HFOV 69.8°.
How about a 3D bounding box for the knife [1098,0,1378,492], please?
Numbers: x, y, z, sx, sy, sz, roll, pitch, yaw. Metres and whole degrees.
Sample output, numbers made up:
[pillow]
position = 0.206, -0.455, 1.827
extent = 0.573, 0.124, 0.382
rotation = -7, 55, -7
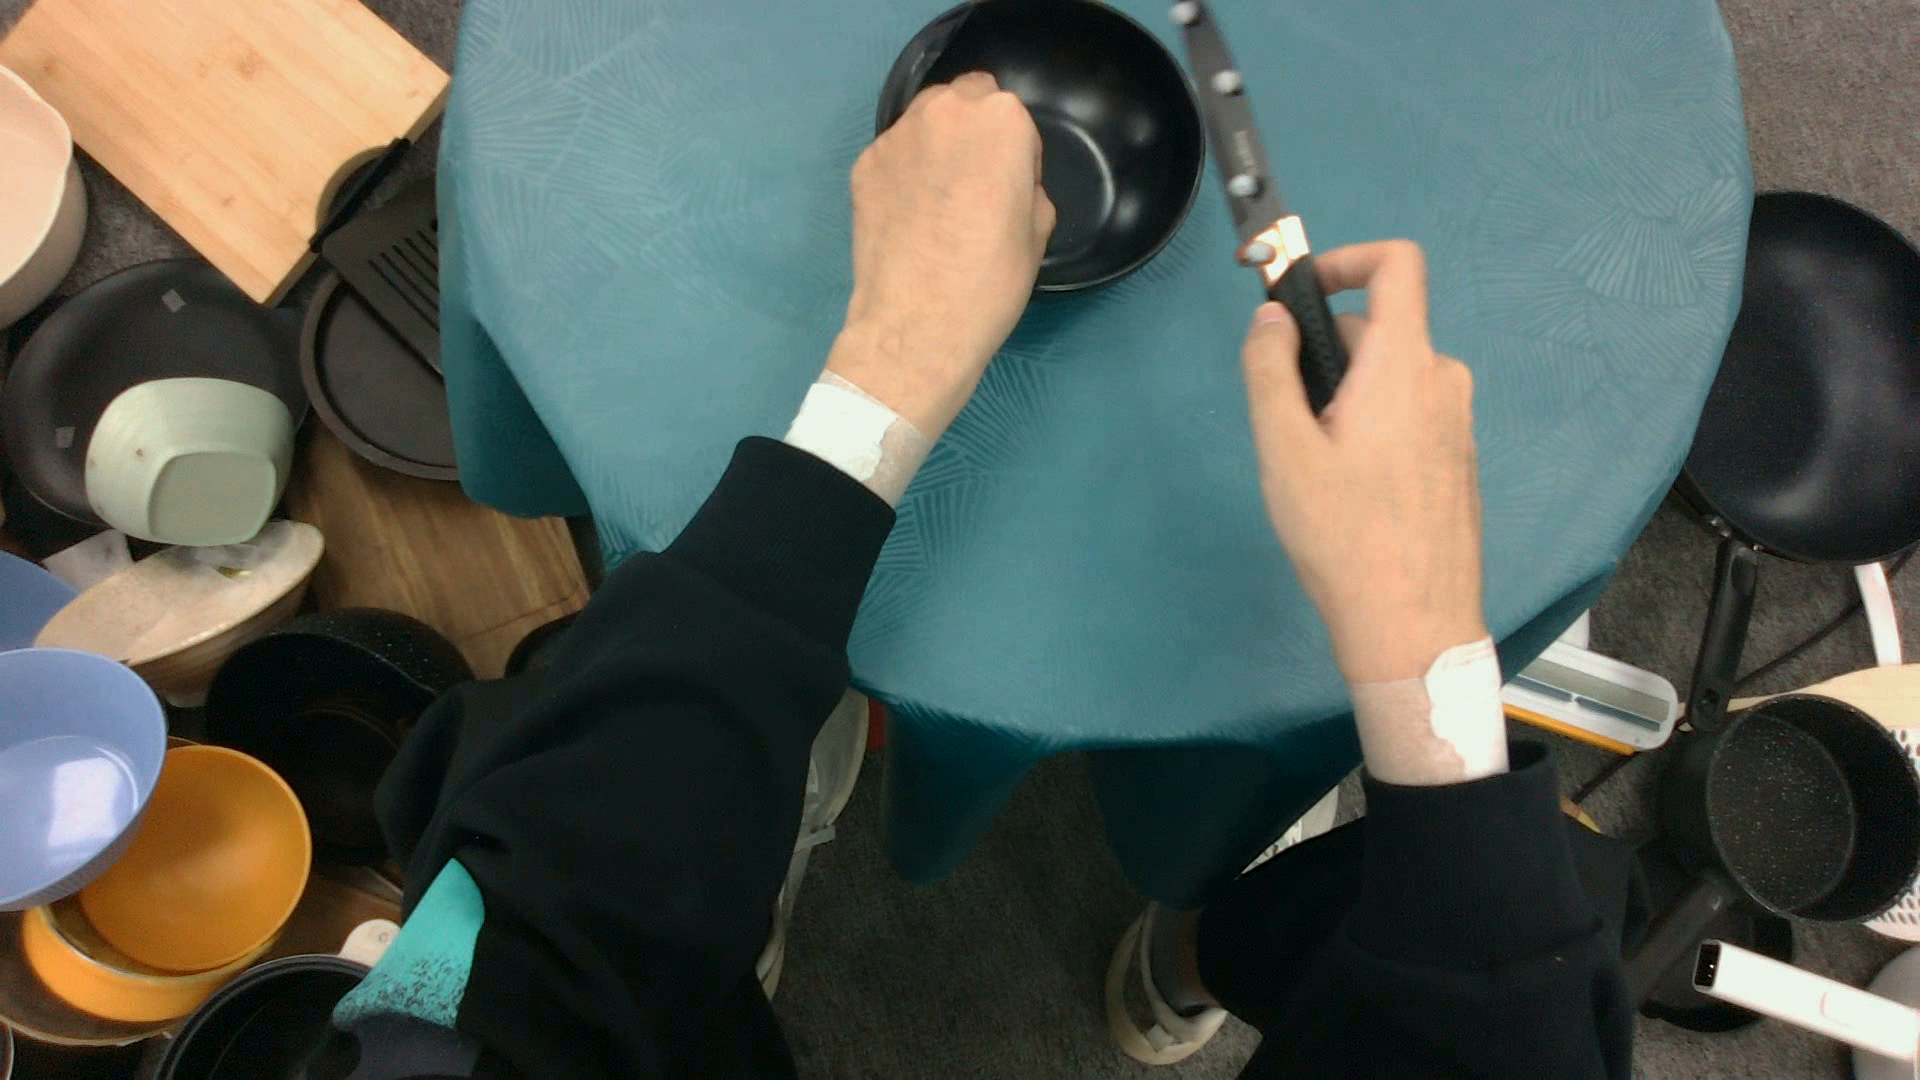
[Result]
[knife]
position = 0.100, -0.118, 0.512
extent = 0.017, 0.026, 0.226
rotation = -9, 72, -45

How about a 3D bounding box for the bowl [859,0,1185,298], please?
[bowl]
position = 0.025, -0.166, 0.598
extent = 0.140, 0.049, 0.140
rotation = 1, 81, -6
